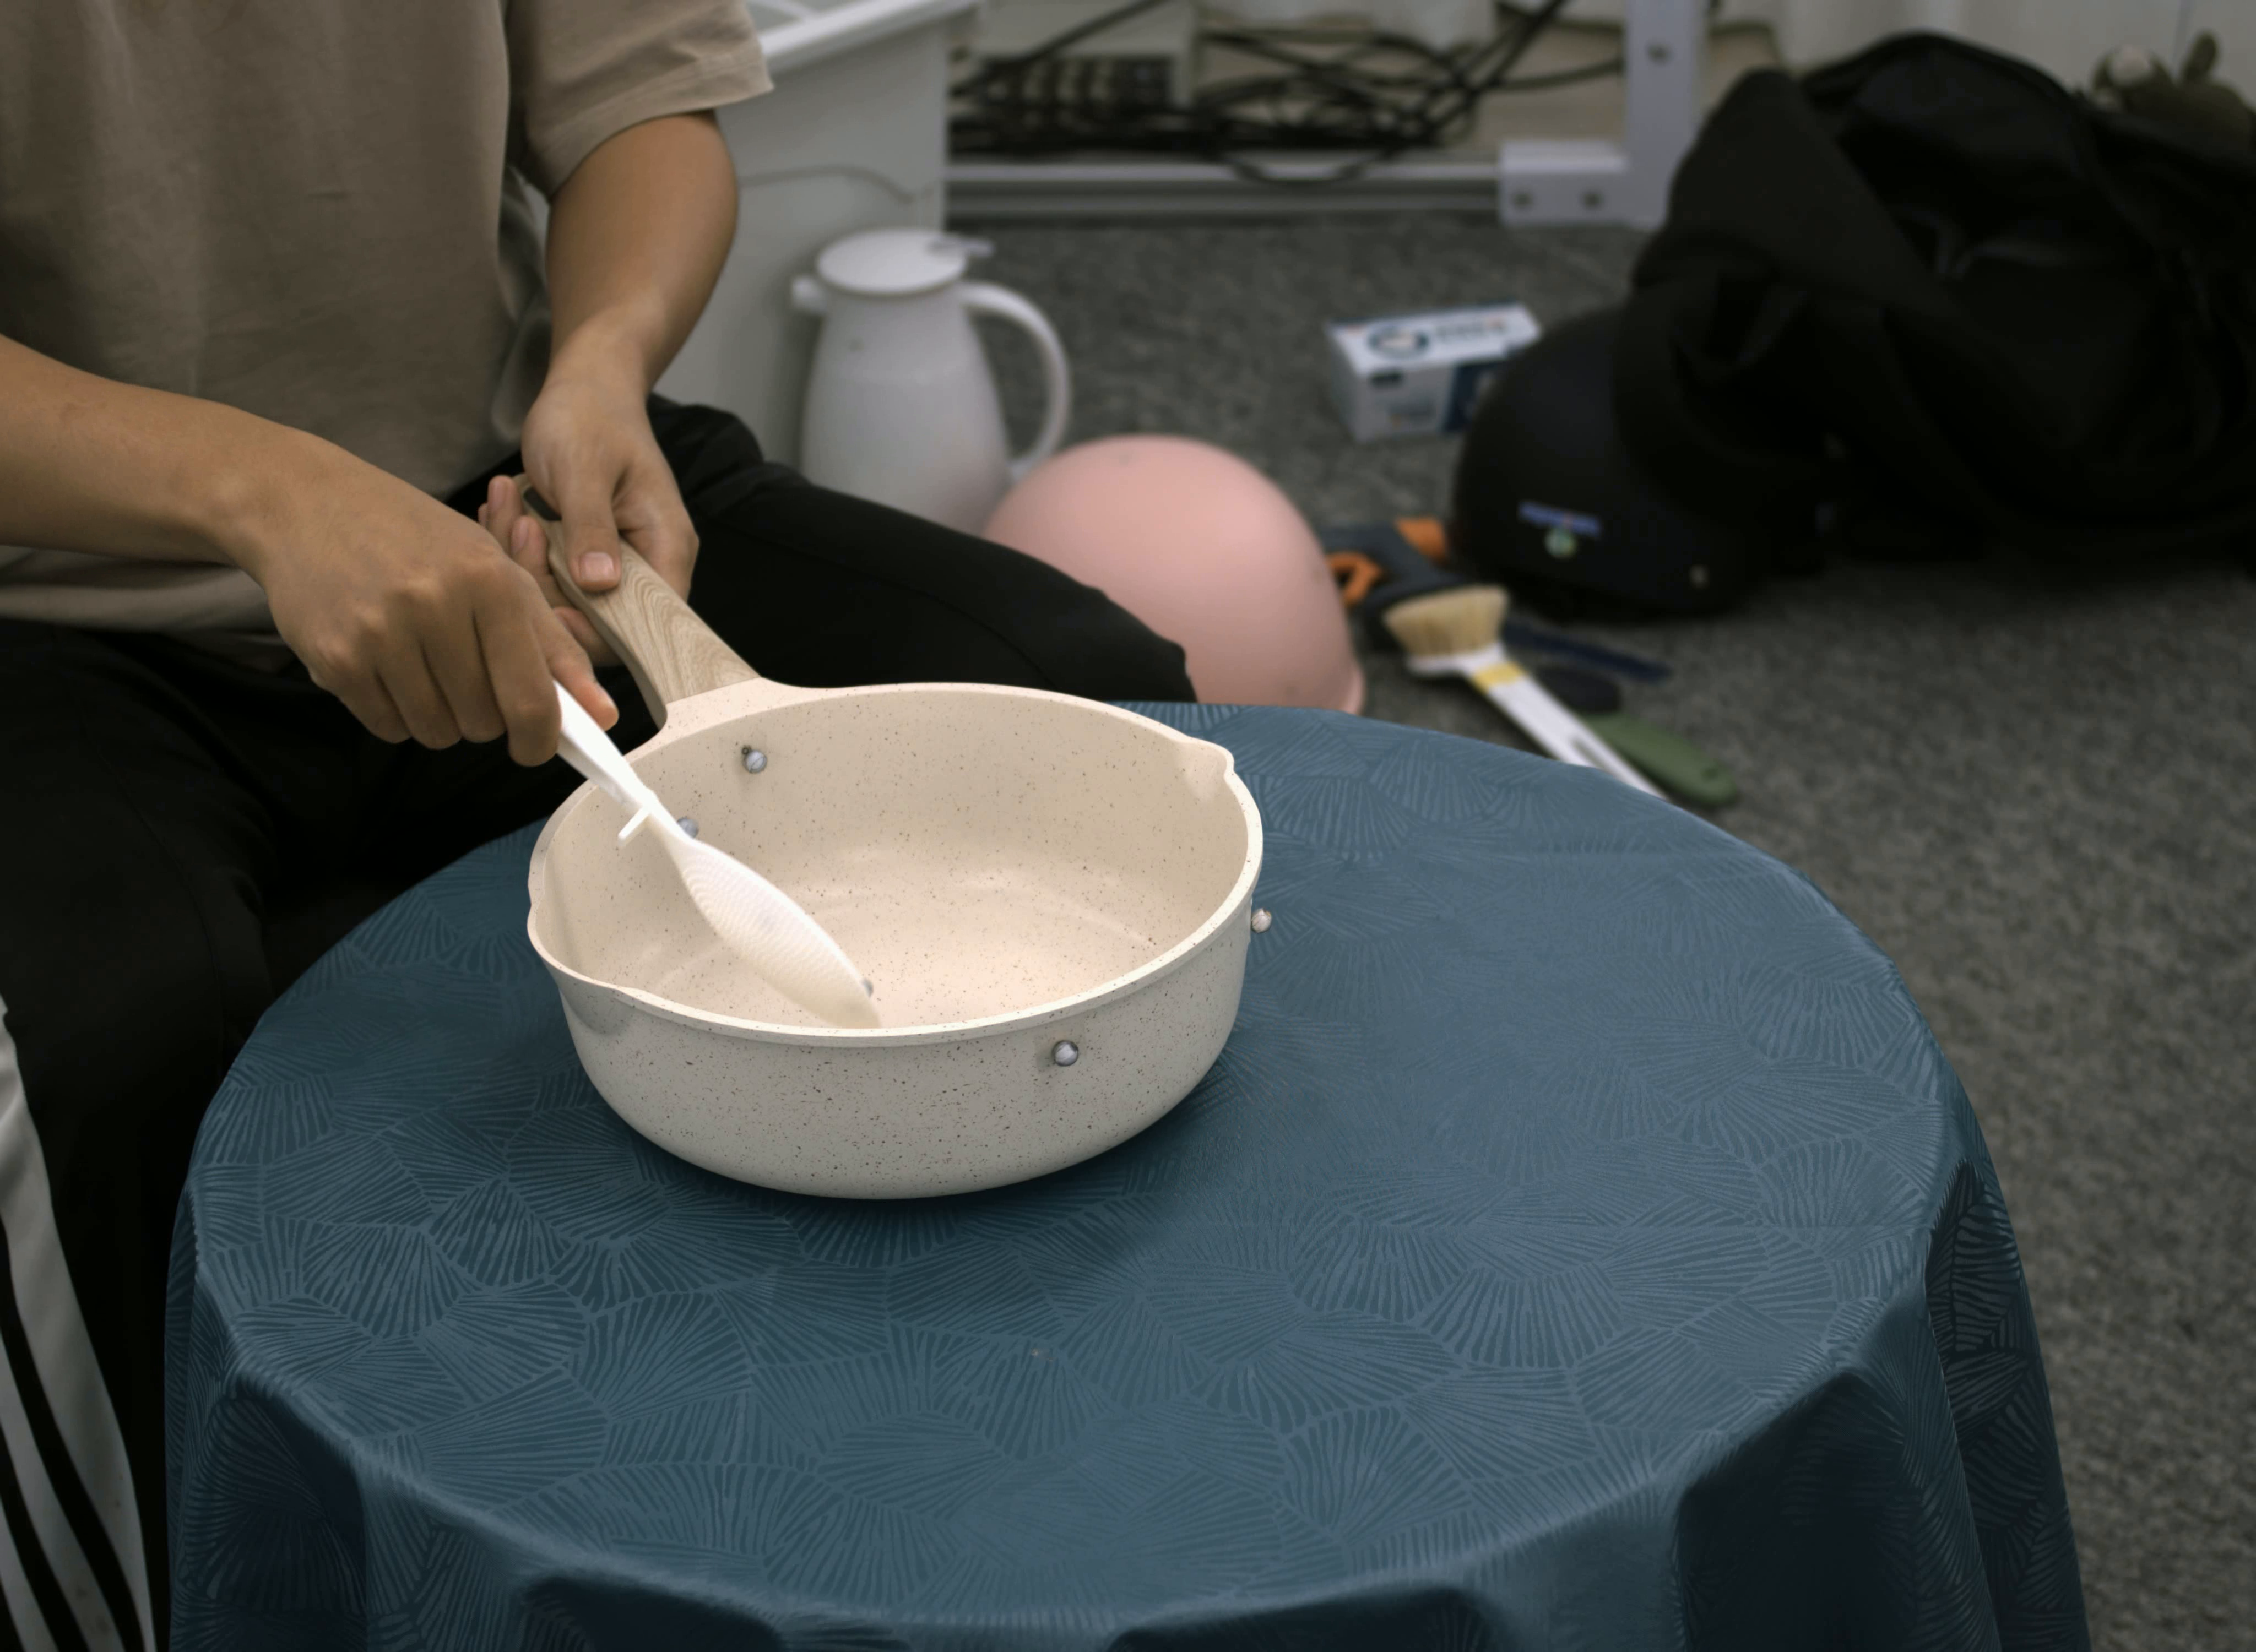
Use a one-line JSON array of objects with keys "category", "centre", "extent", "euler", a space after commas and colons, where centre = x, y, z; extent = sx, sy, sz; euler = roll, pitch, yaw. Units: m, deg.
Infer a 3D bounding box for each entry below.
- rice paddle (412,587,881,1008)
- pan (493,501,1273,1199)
[{"category": "rice paddle", "centre": [-0.156, -0.002, 1.889], "extent": [0.205, 0.068, 0.030], "euler": [42, 69, 6]}, {"category": "pan", "centre": [-0.118, 0.002, 2.001], "extent": [0.265, 0.101, 0.436], "euler": [-19, 31, -24]}]
